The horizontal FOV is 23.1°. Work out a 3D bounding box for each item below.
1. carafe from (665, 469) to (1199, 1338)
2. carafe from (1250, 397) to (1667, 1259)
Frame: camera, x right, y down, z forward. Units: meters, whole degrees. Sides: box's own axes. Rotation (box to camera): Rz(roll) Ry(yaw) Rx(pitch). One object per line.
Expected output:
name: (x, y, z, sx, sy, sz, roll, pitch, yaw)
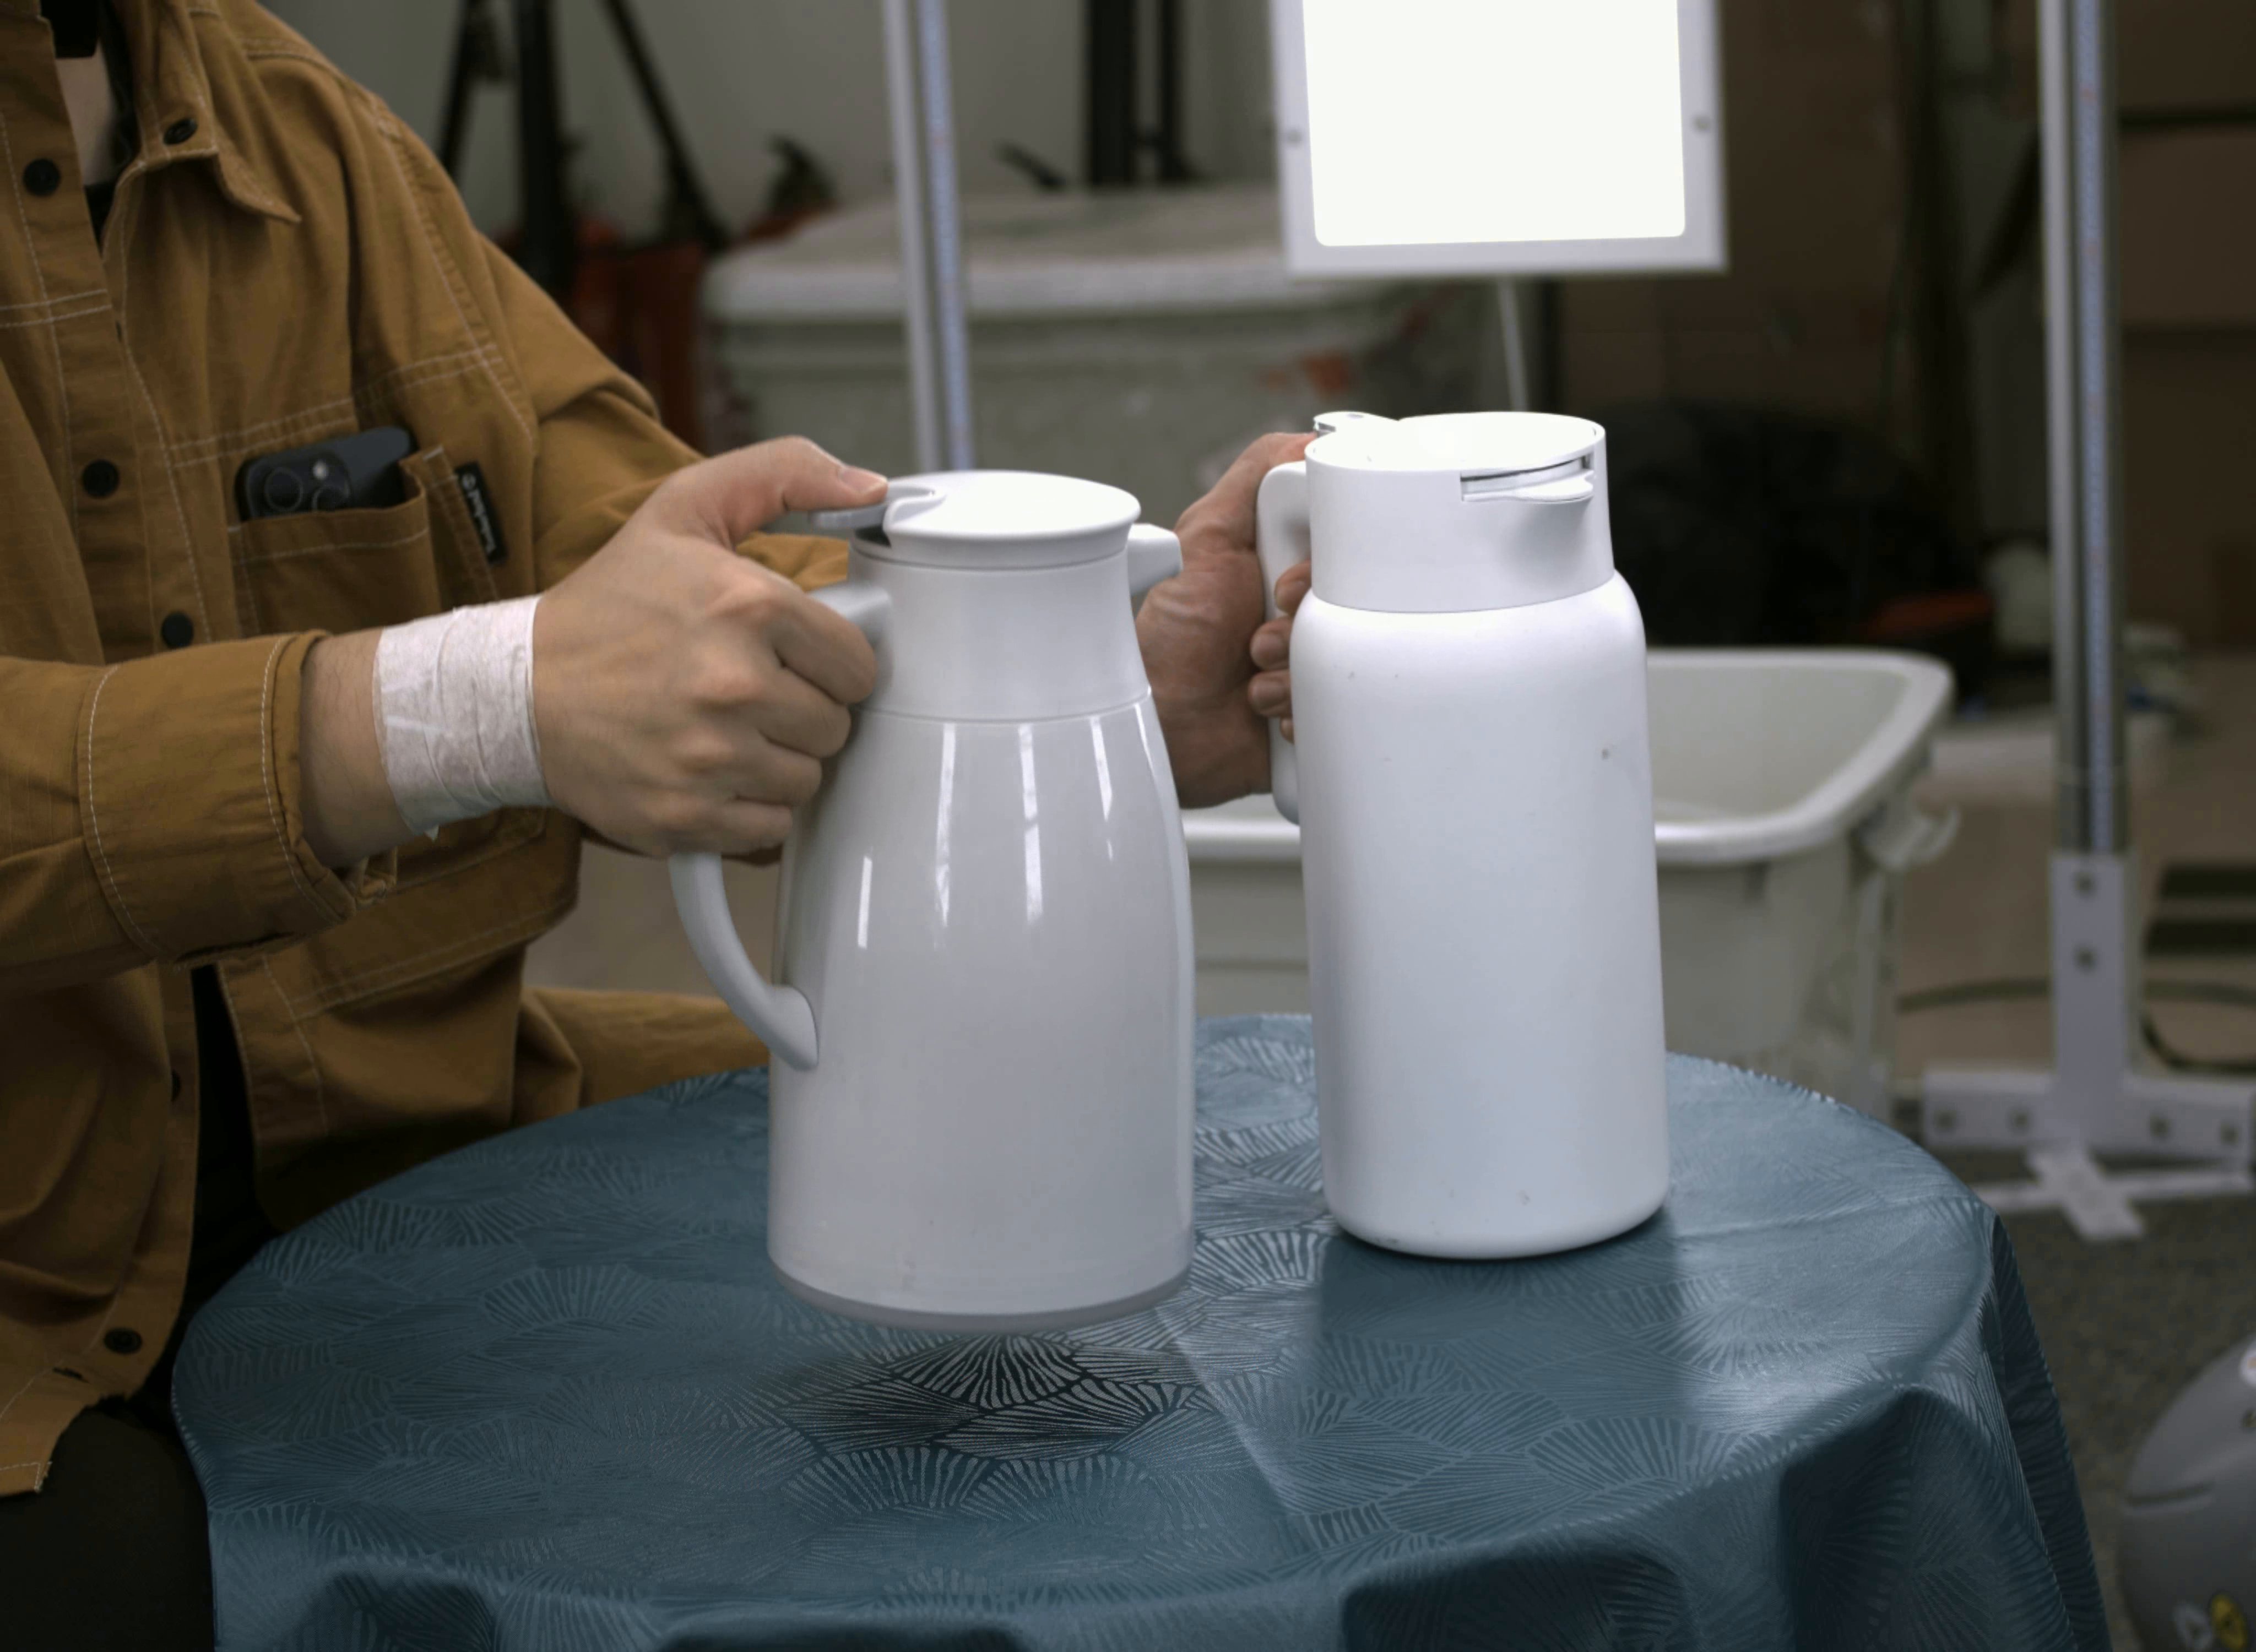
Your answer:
carafe: (-0.059, 0.020, 1.659, 0.164, 0.250, 0.135, -8, 16, -28)
carafe: (0.104, -0.002, 1.821, 0.121, 0.270, 0.176, -15, 17, -29)
